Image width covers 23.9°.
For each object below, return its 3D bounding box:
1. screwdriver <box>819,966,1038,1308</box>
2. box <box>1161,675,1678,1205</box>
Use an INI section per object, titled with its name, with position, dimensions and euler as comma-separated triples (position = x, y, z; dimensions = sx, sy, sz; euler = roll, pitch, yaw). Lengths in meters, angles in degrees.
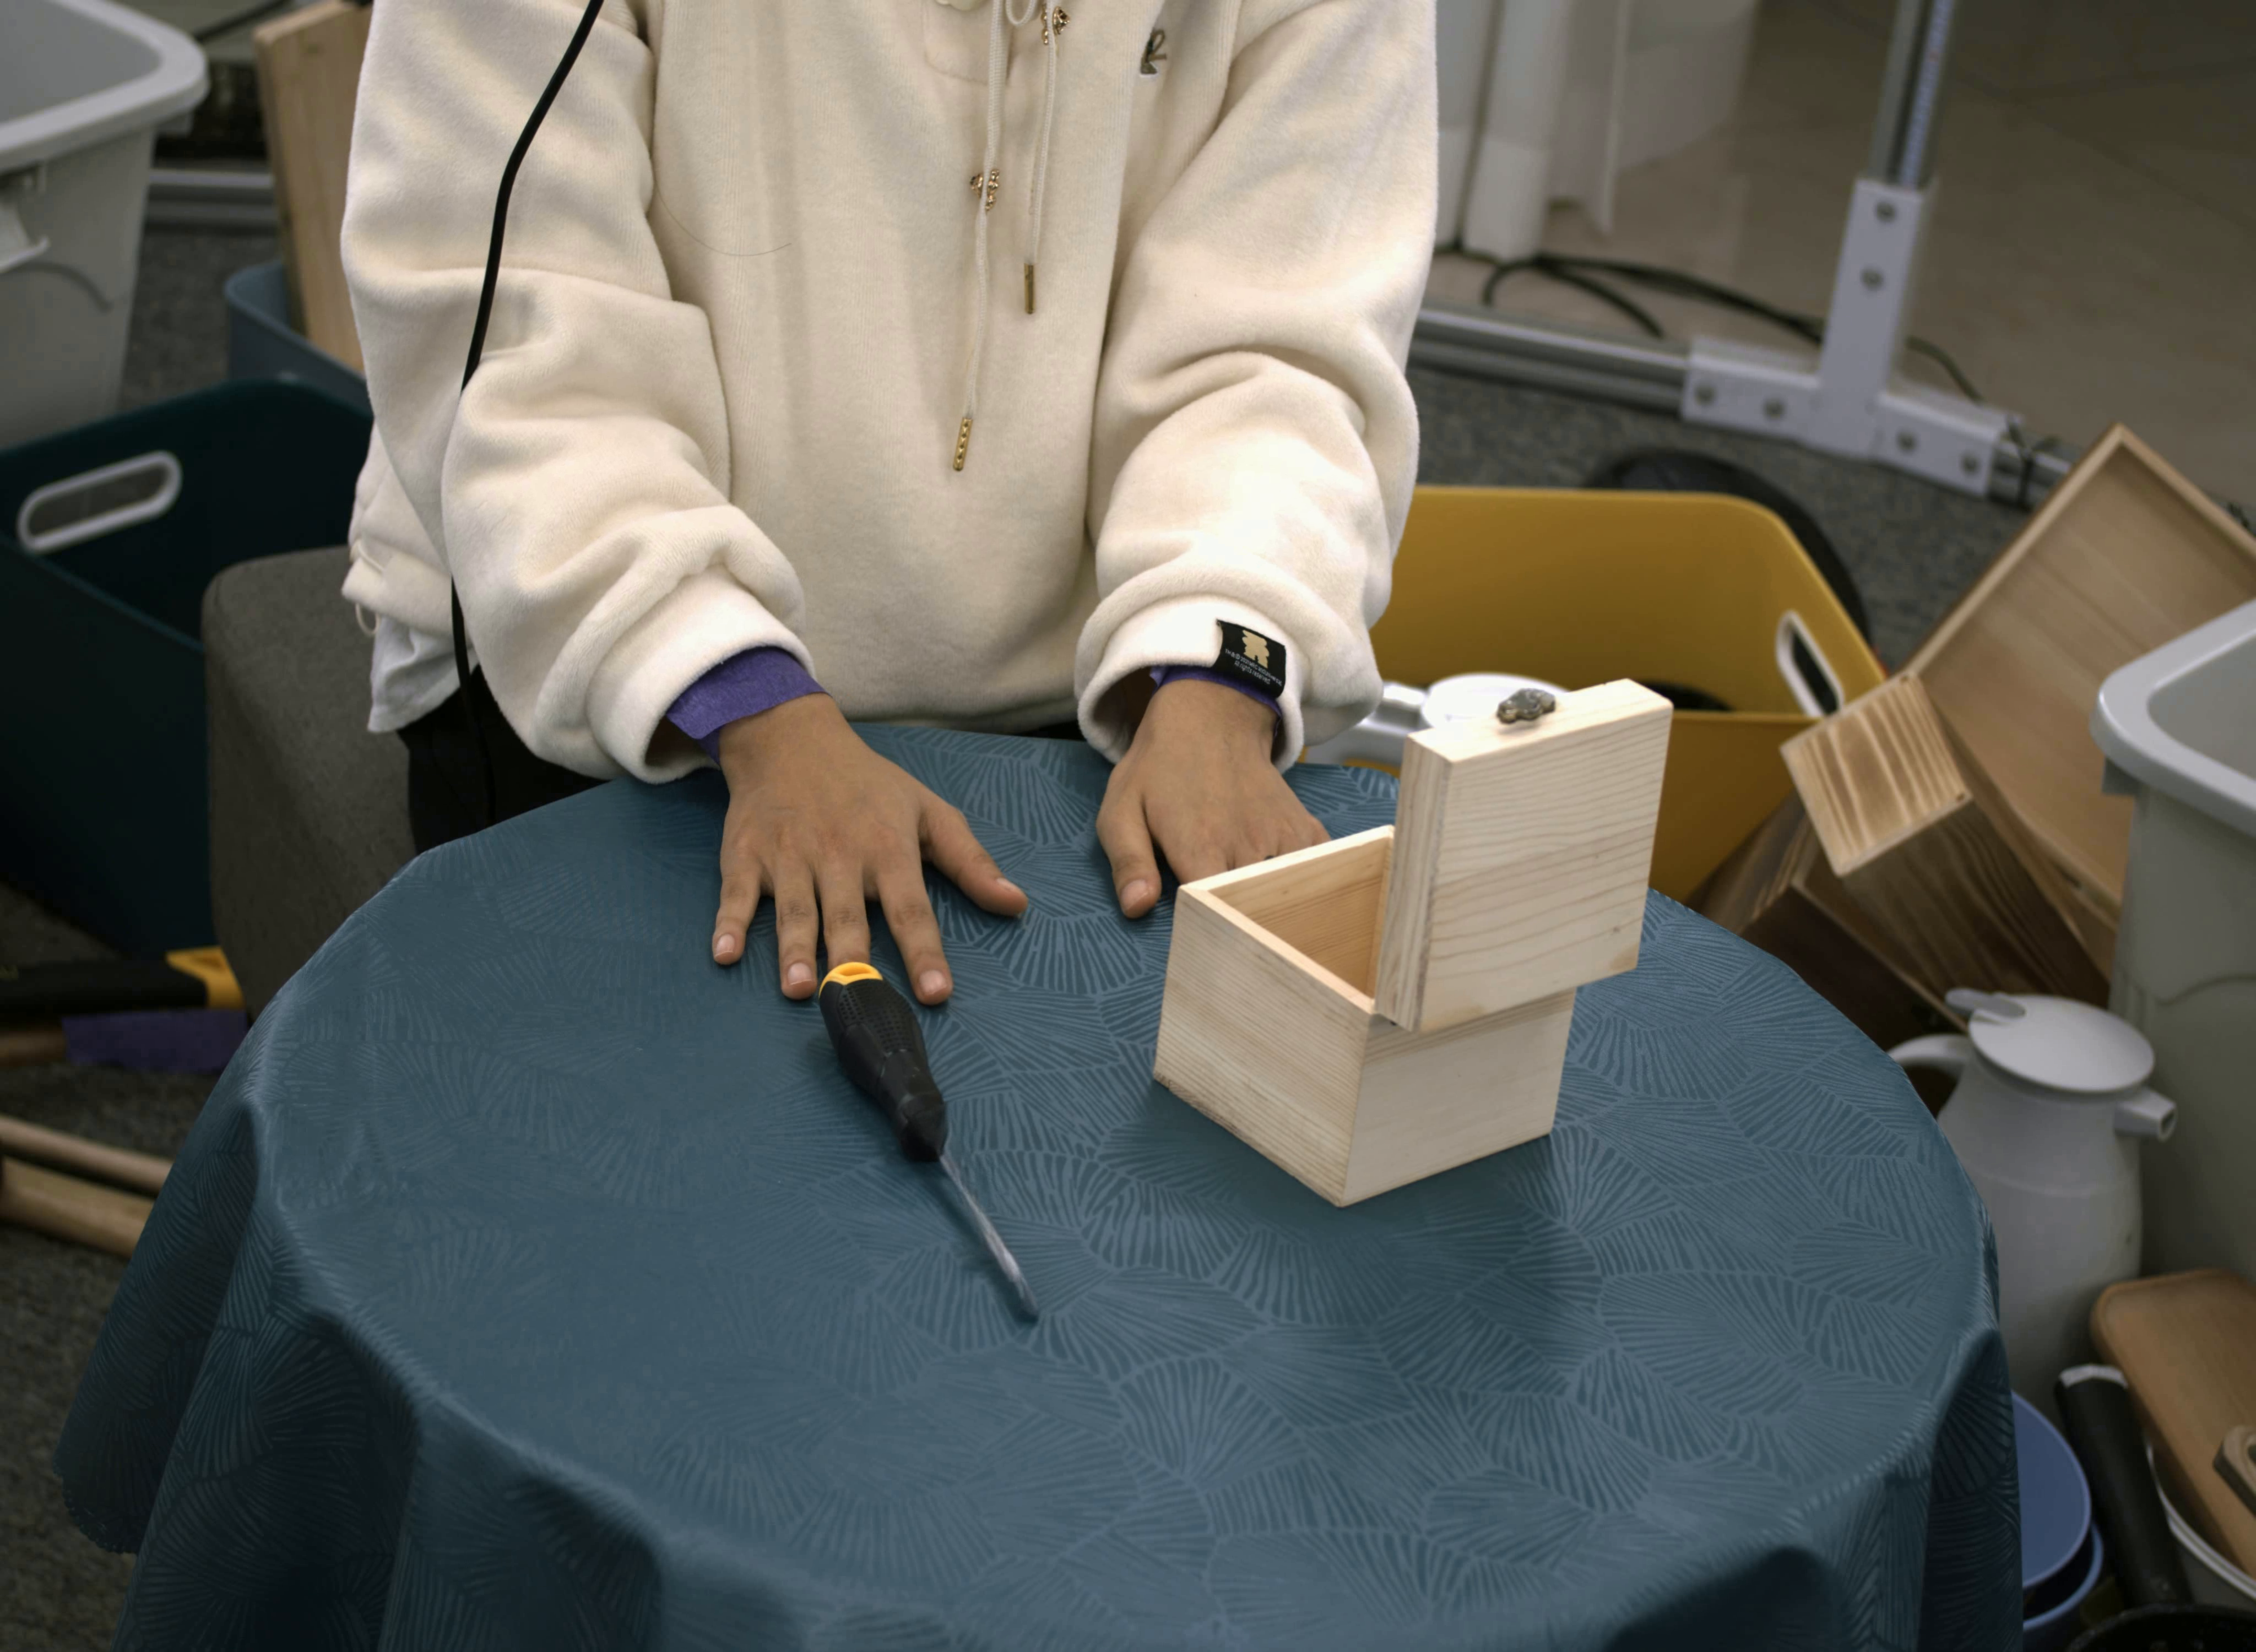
[screwdriver]
position = -0.069, 0.106, 1.797
dimensions = 0.031, 0.031, 0.199
euler = -2, 31, -19
[box]
position = 0.096, 0.021, 1.822
dimensions = 0.102, 0.184, 0.135
euler = -16, 35, -38
